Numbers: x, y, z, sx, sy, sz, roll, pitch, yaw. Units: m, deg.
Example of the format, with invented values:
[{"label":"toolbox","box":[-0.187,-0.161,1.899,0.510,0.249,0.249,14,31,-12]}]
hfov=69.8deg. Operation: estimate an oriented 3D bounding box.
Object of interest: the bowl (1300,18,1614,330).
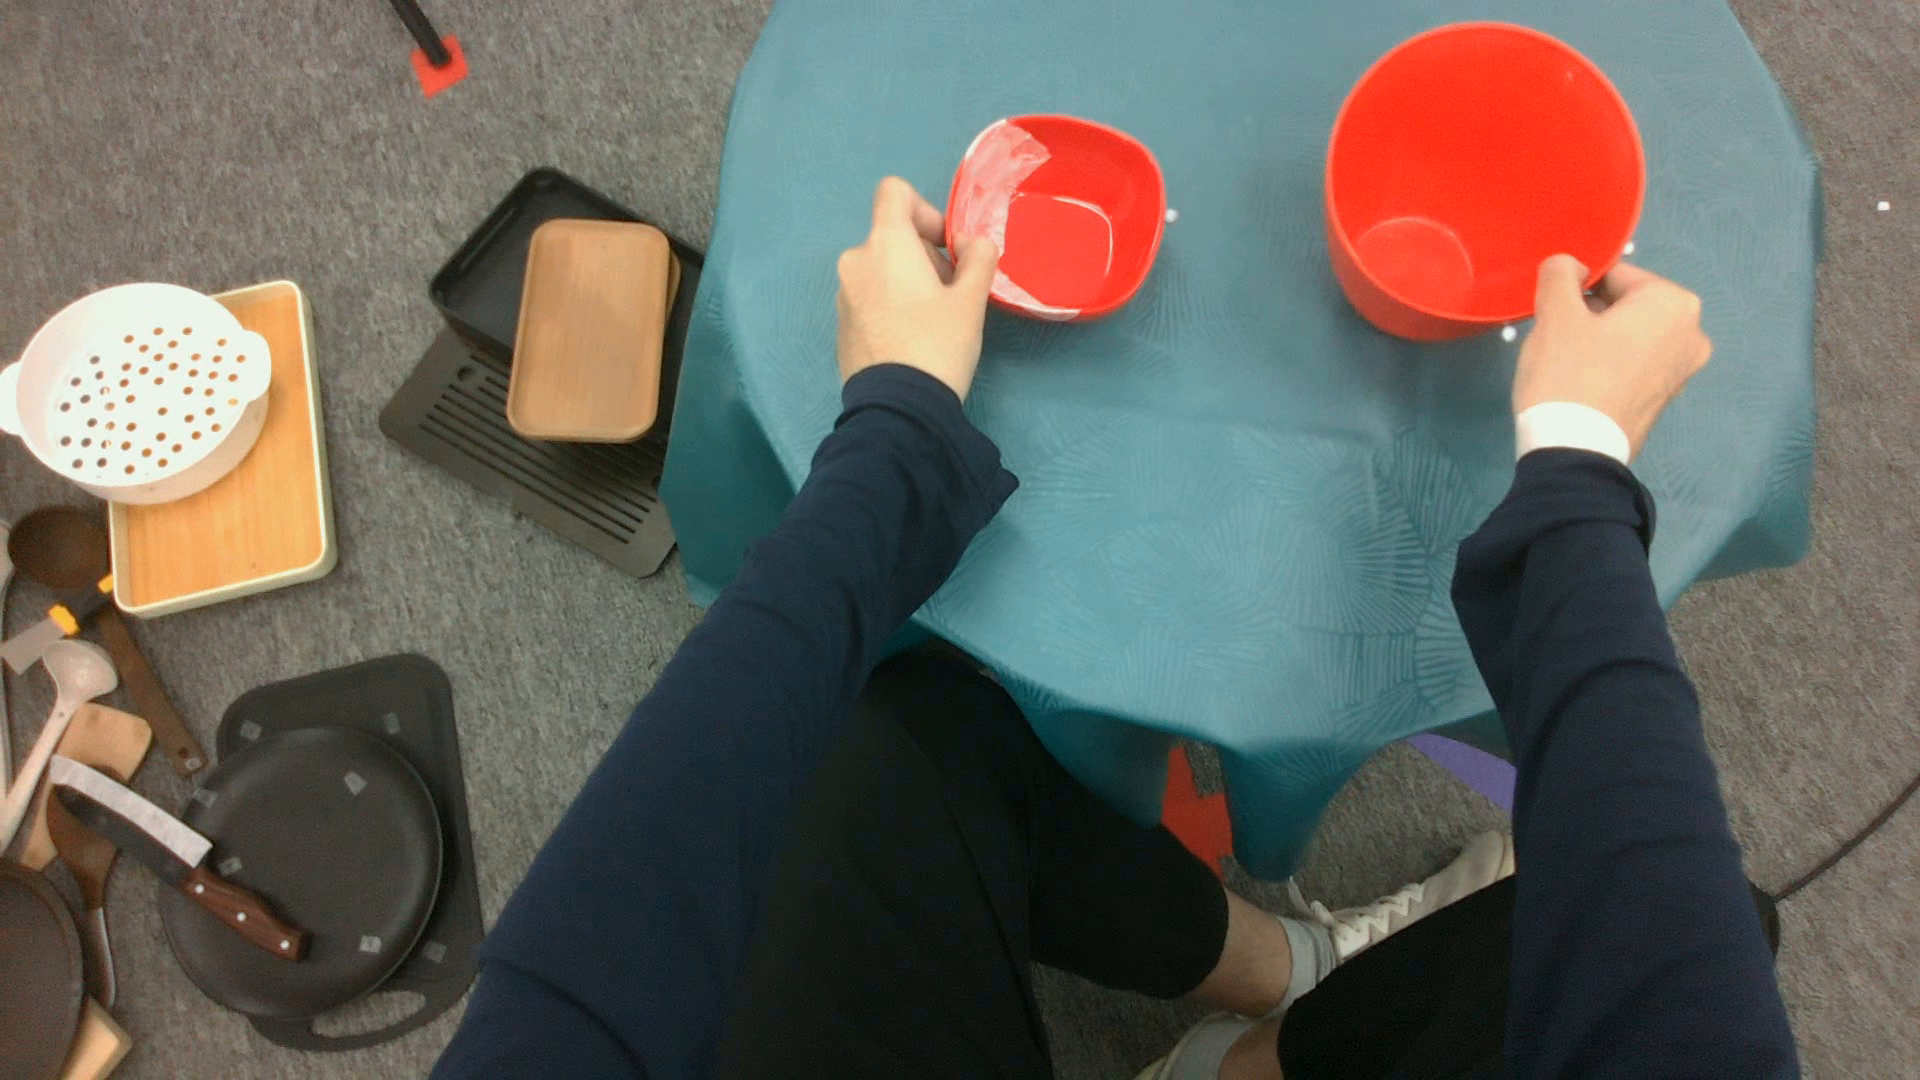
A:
[{"label":"bowl","box":[0.237,-0.170,0.700,0.148,0.104,0.148,1,74,-3]}]

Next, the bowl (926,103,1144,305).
[{"label":"bowl","box":[0.038,-0.167,0.722,0.119,0.051,0.119,0,72,-1]}]
